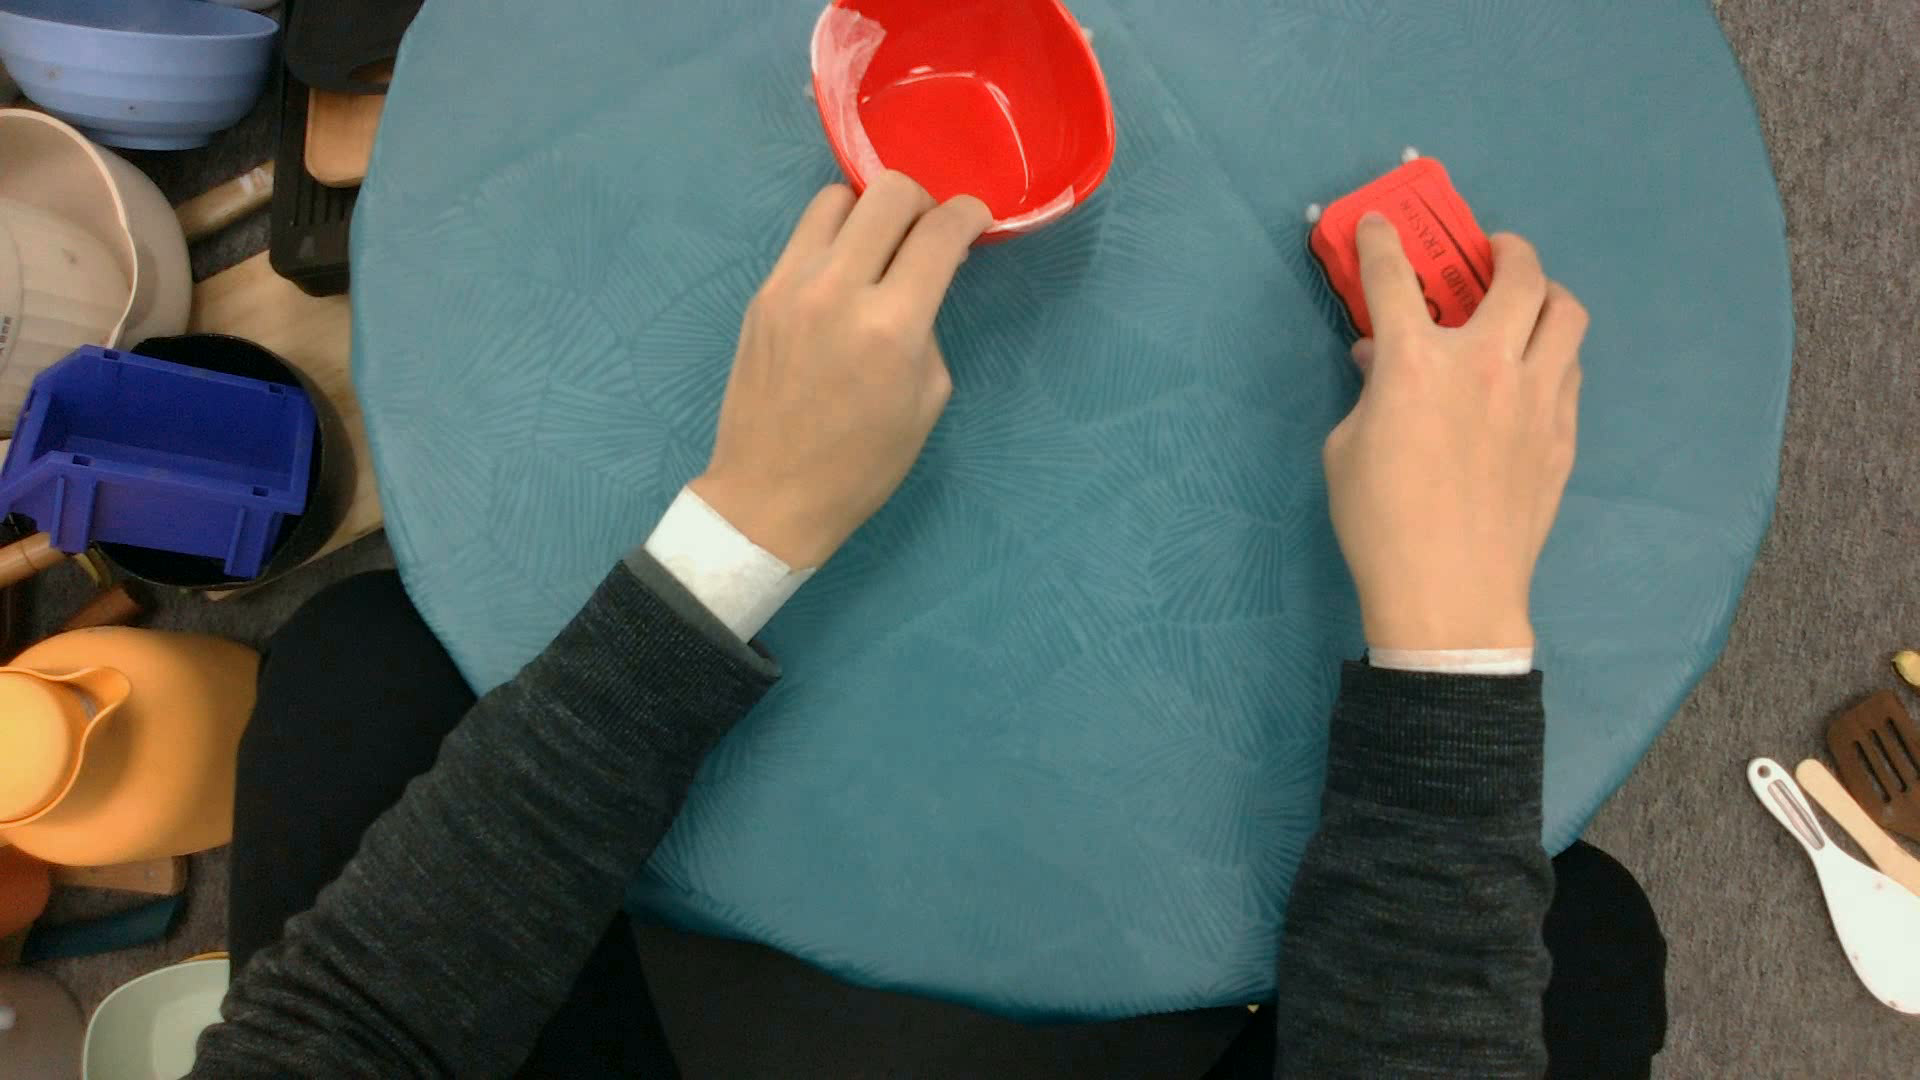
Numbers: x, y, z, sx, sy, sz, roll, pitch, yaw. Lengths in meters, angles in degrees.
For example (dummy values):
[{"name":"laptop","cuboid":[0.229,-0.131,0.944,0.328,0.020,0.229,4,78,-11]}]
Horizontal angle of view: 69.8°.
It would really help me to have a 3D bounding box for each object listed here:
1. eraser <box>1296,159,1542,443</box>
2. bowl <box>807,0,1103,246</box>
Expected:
[{"name":"eraser","cuboid":[0.188,-0.098,0.568,0.059,0.023,0.108,-28,86,-5]},{"name":"bowl","cuboid":[-0.006,-0.161,0.543,0.119,0.051,0.119,4,74,-13]}]
